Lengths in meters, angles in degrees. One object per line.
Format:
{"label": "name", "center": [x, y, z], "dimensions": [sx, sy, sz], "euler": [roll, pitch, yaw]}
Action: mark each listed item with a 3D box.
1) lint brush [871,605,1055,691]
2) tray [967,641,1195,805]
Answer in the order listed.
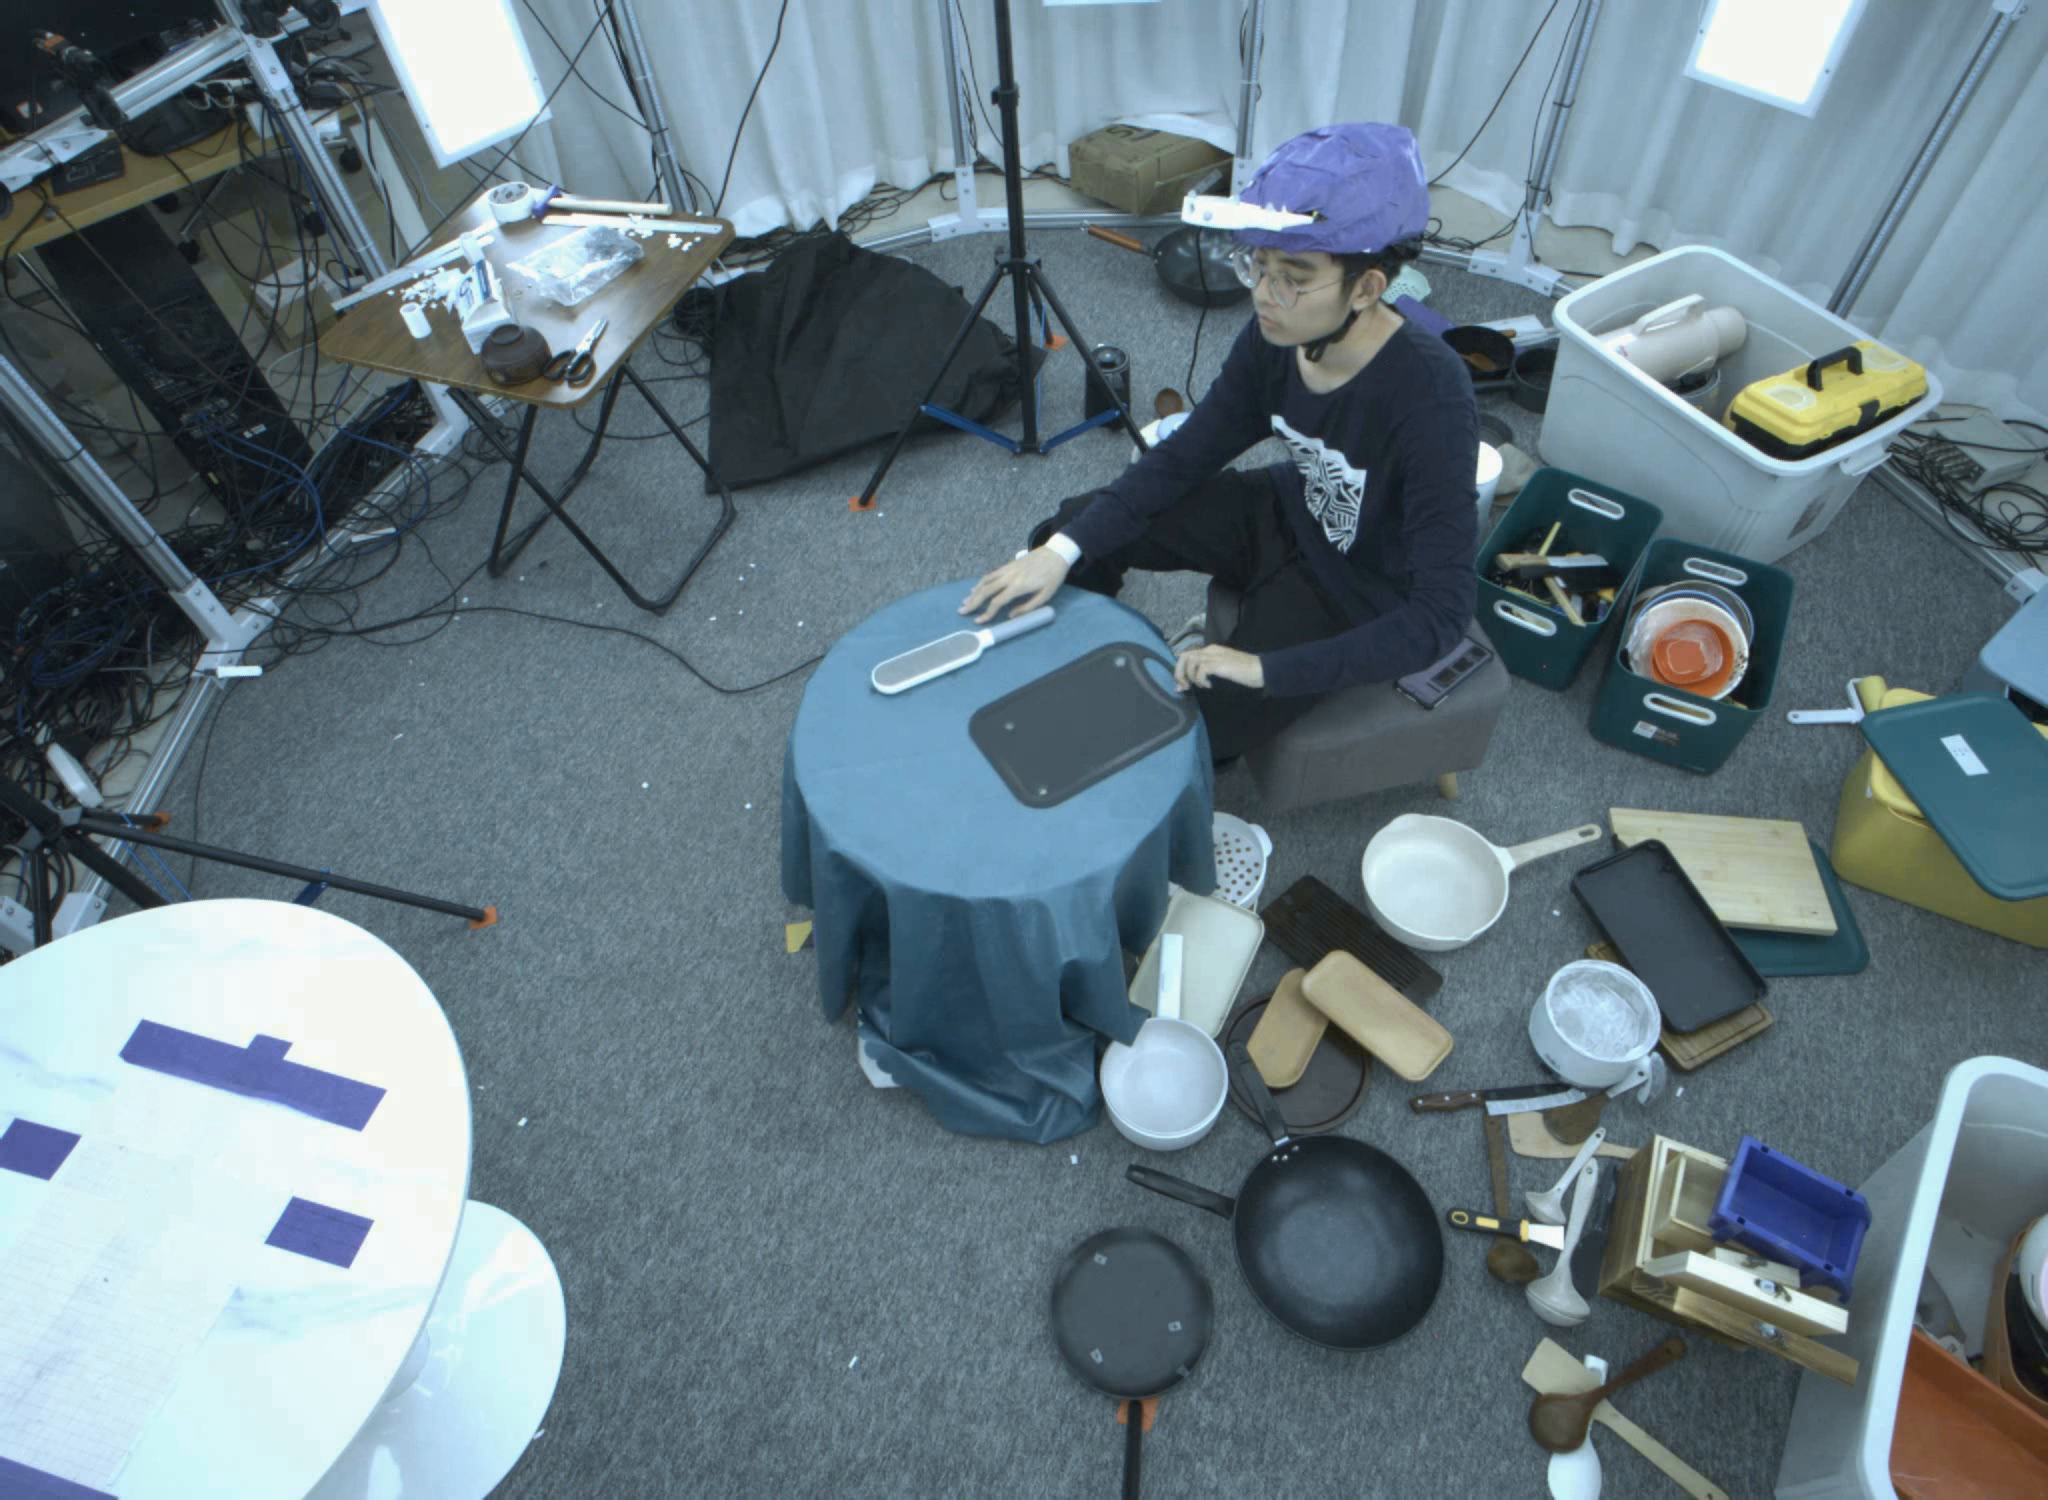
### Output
{"label": "lint brush", "center": [-0.092, -0.161, 1.896], "dimensions": [0.311, 0.021, 0.059], "euler": [-23, 52, -15]}
{"label": "tray", "center": [0.091, -0.051, 1.826], "dimensions": [0.328, 0.010, 0.207], "euler": [-27, 58, -17]}
